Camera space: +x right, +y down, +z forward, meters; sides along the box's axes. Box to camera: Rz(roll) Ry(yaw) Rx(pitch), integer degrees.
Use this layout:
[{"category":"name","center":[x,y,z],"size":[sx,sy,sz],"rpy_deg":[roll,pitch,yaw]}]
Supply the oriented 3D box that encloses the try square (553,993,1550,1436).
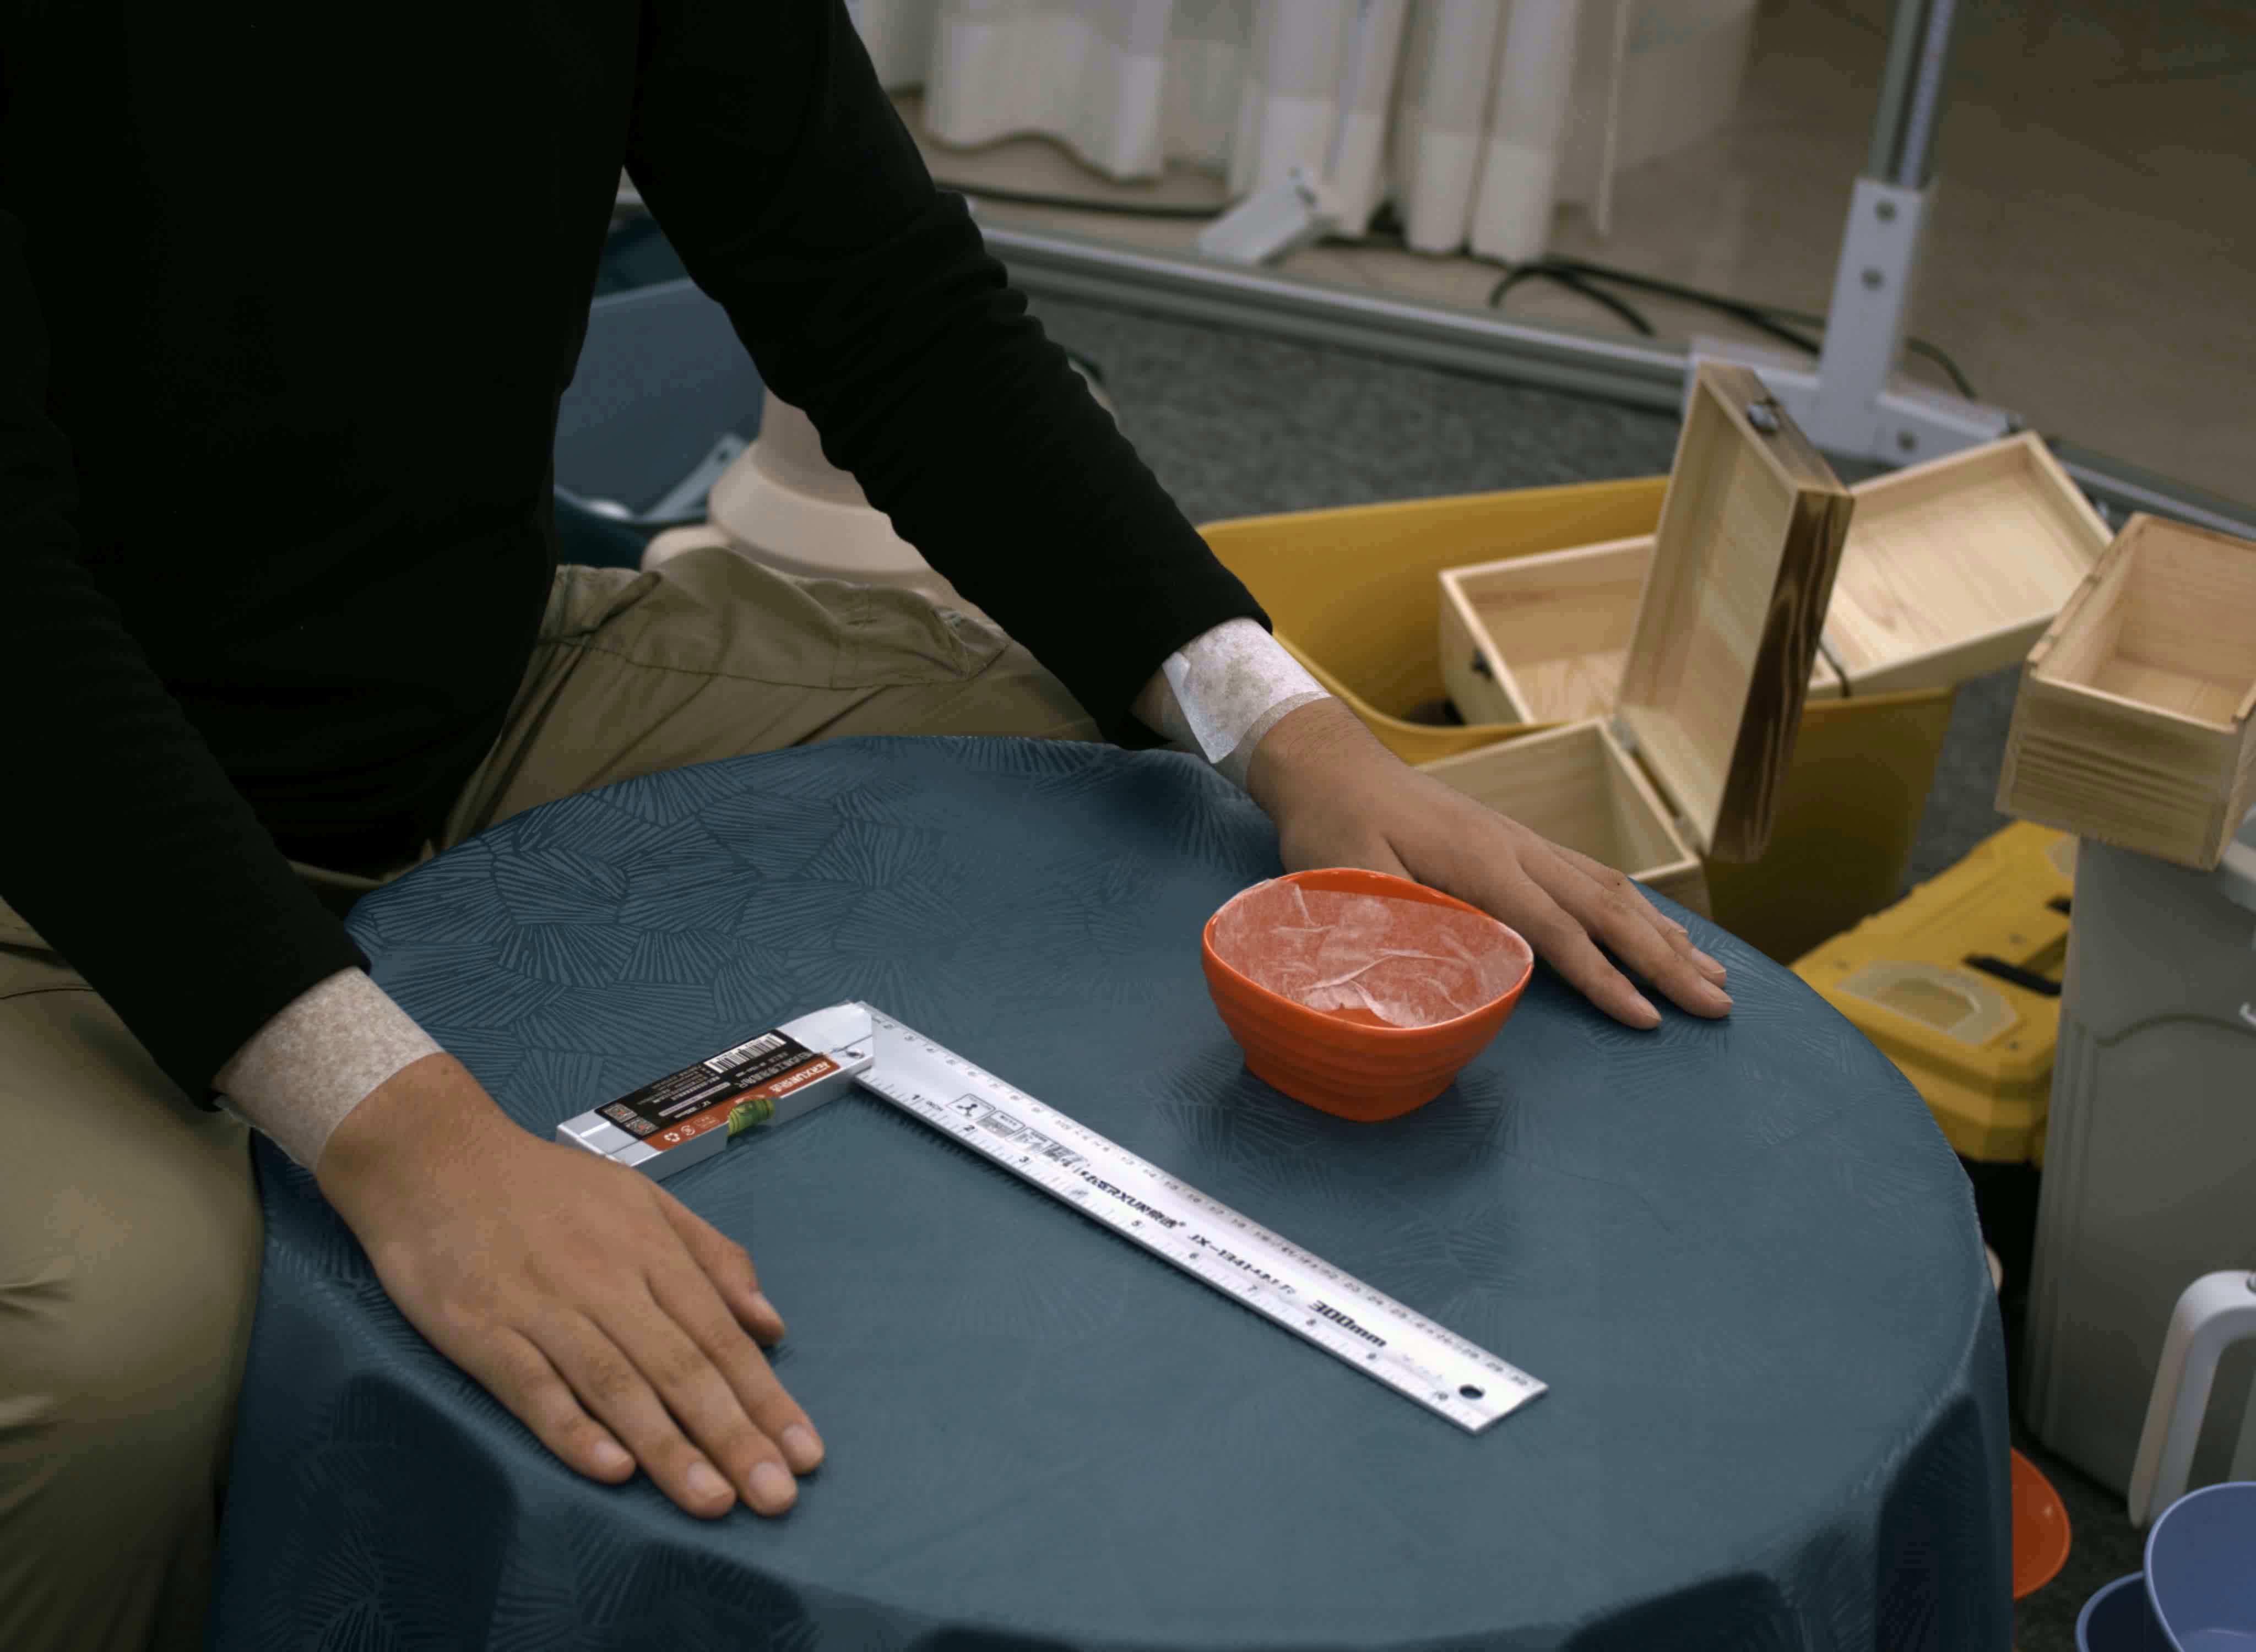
[{"category":"try square","center":[-0.029,0.145,1.752],"size":[0.315,0.016,0.152],"rpy_deg":[28,37,33]}]

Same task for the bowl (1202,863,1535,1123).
[{"category":"bowl","center":[0.082,0.063,1.881],"size":[0.118,0.051,0.119],"rpy_deg":[5,29,-3]}]
